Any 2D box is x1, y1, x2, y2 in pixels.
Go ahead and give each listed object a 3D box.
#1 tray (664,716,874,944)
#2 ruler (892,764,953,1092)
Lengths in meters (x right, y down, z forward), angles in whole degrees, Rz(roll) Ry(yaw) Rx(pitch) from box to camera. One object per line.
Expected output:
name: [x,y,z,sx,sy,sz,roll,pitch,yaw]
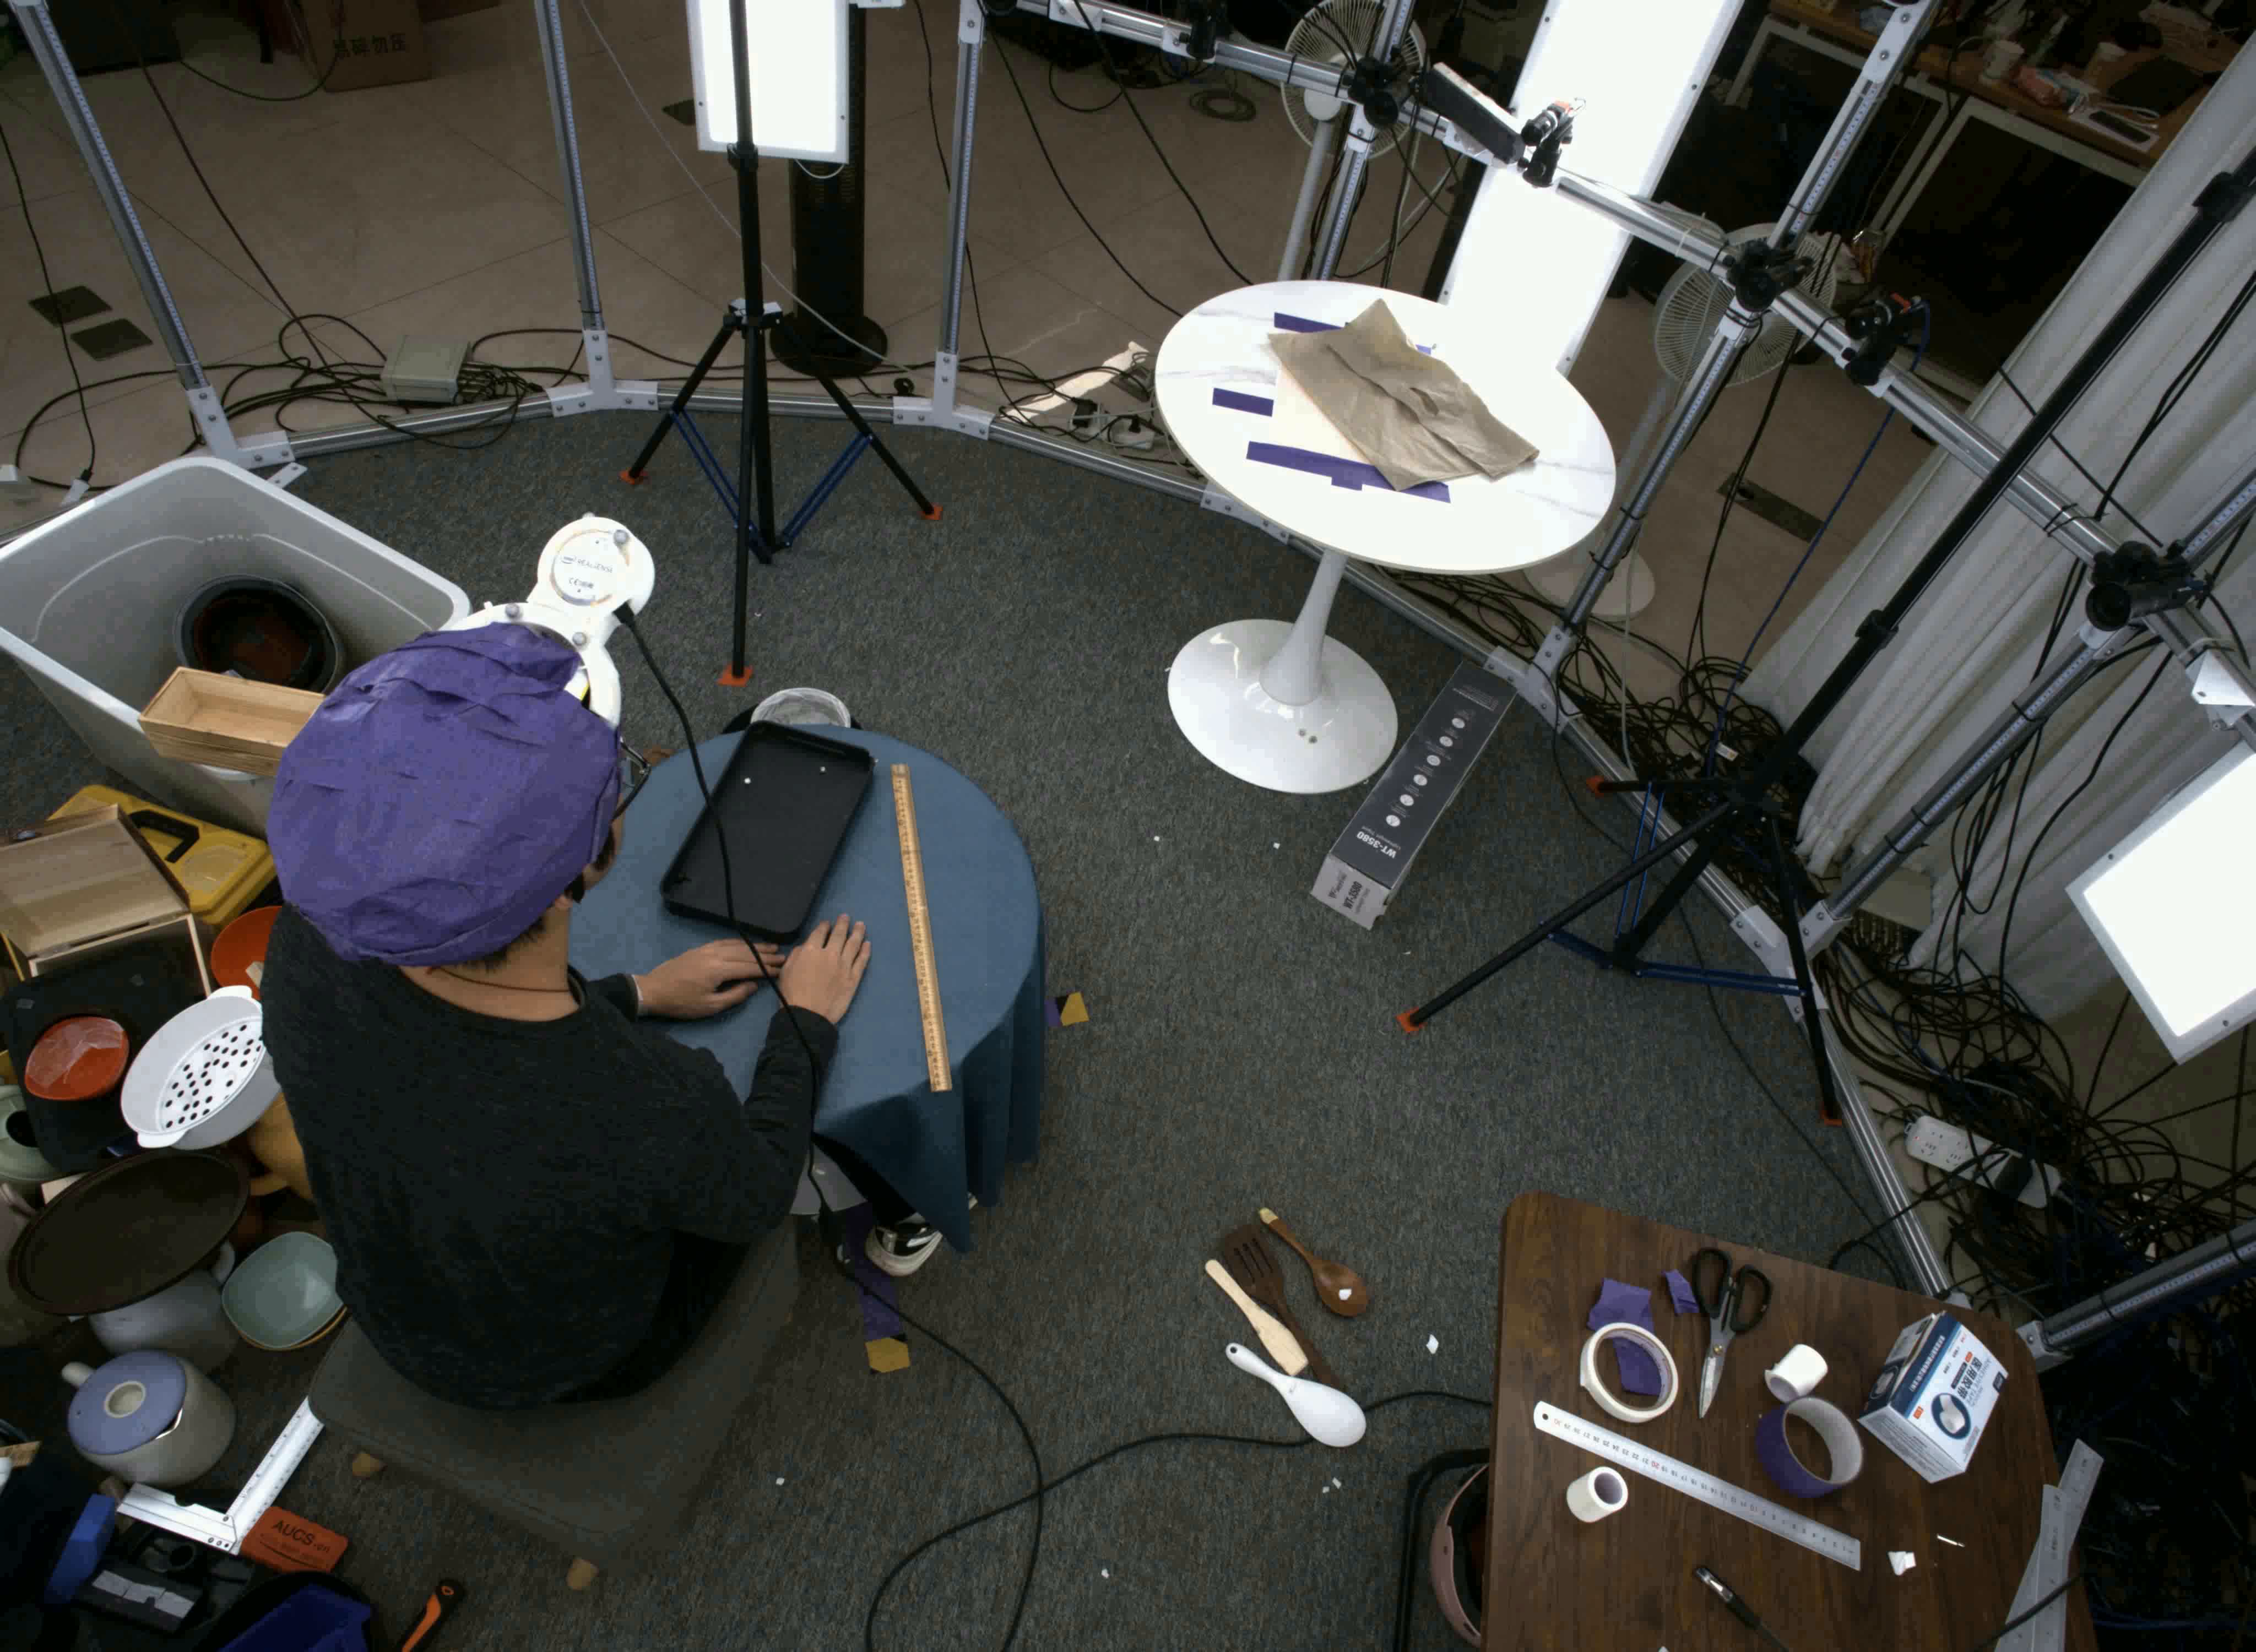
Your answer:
tray: [-0.461,-0.002,1.688,0.183,0.038,0.314,15,52,-3]
ruler: [-0.268,0.112,1.673,0.027,0.006,0.489,-4,55,-14]
